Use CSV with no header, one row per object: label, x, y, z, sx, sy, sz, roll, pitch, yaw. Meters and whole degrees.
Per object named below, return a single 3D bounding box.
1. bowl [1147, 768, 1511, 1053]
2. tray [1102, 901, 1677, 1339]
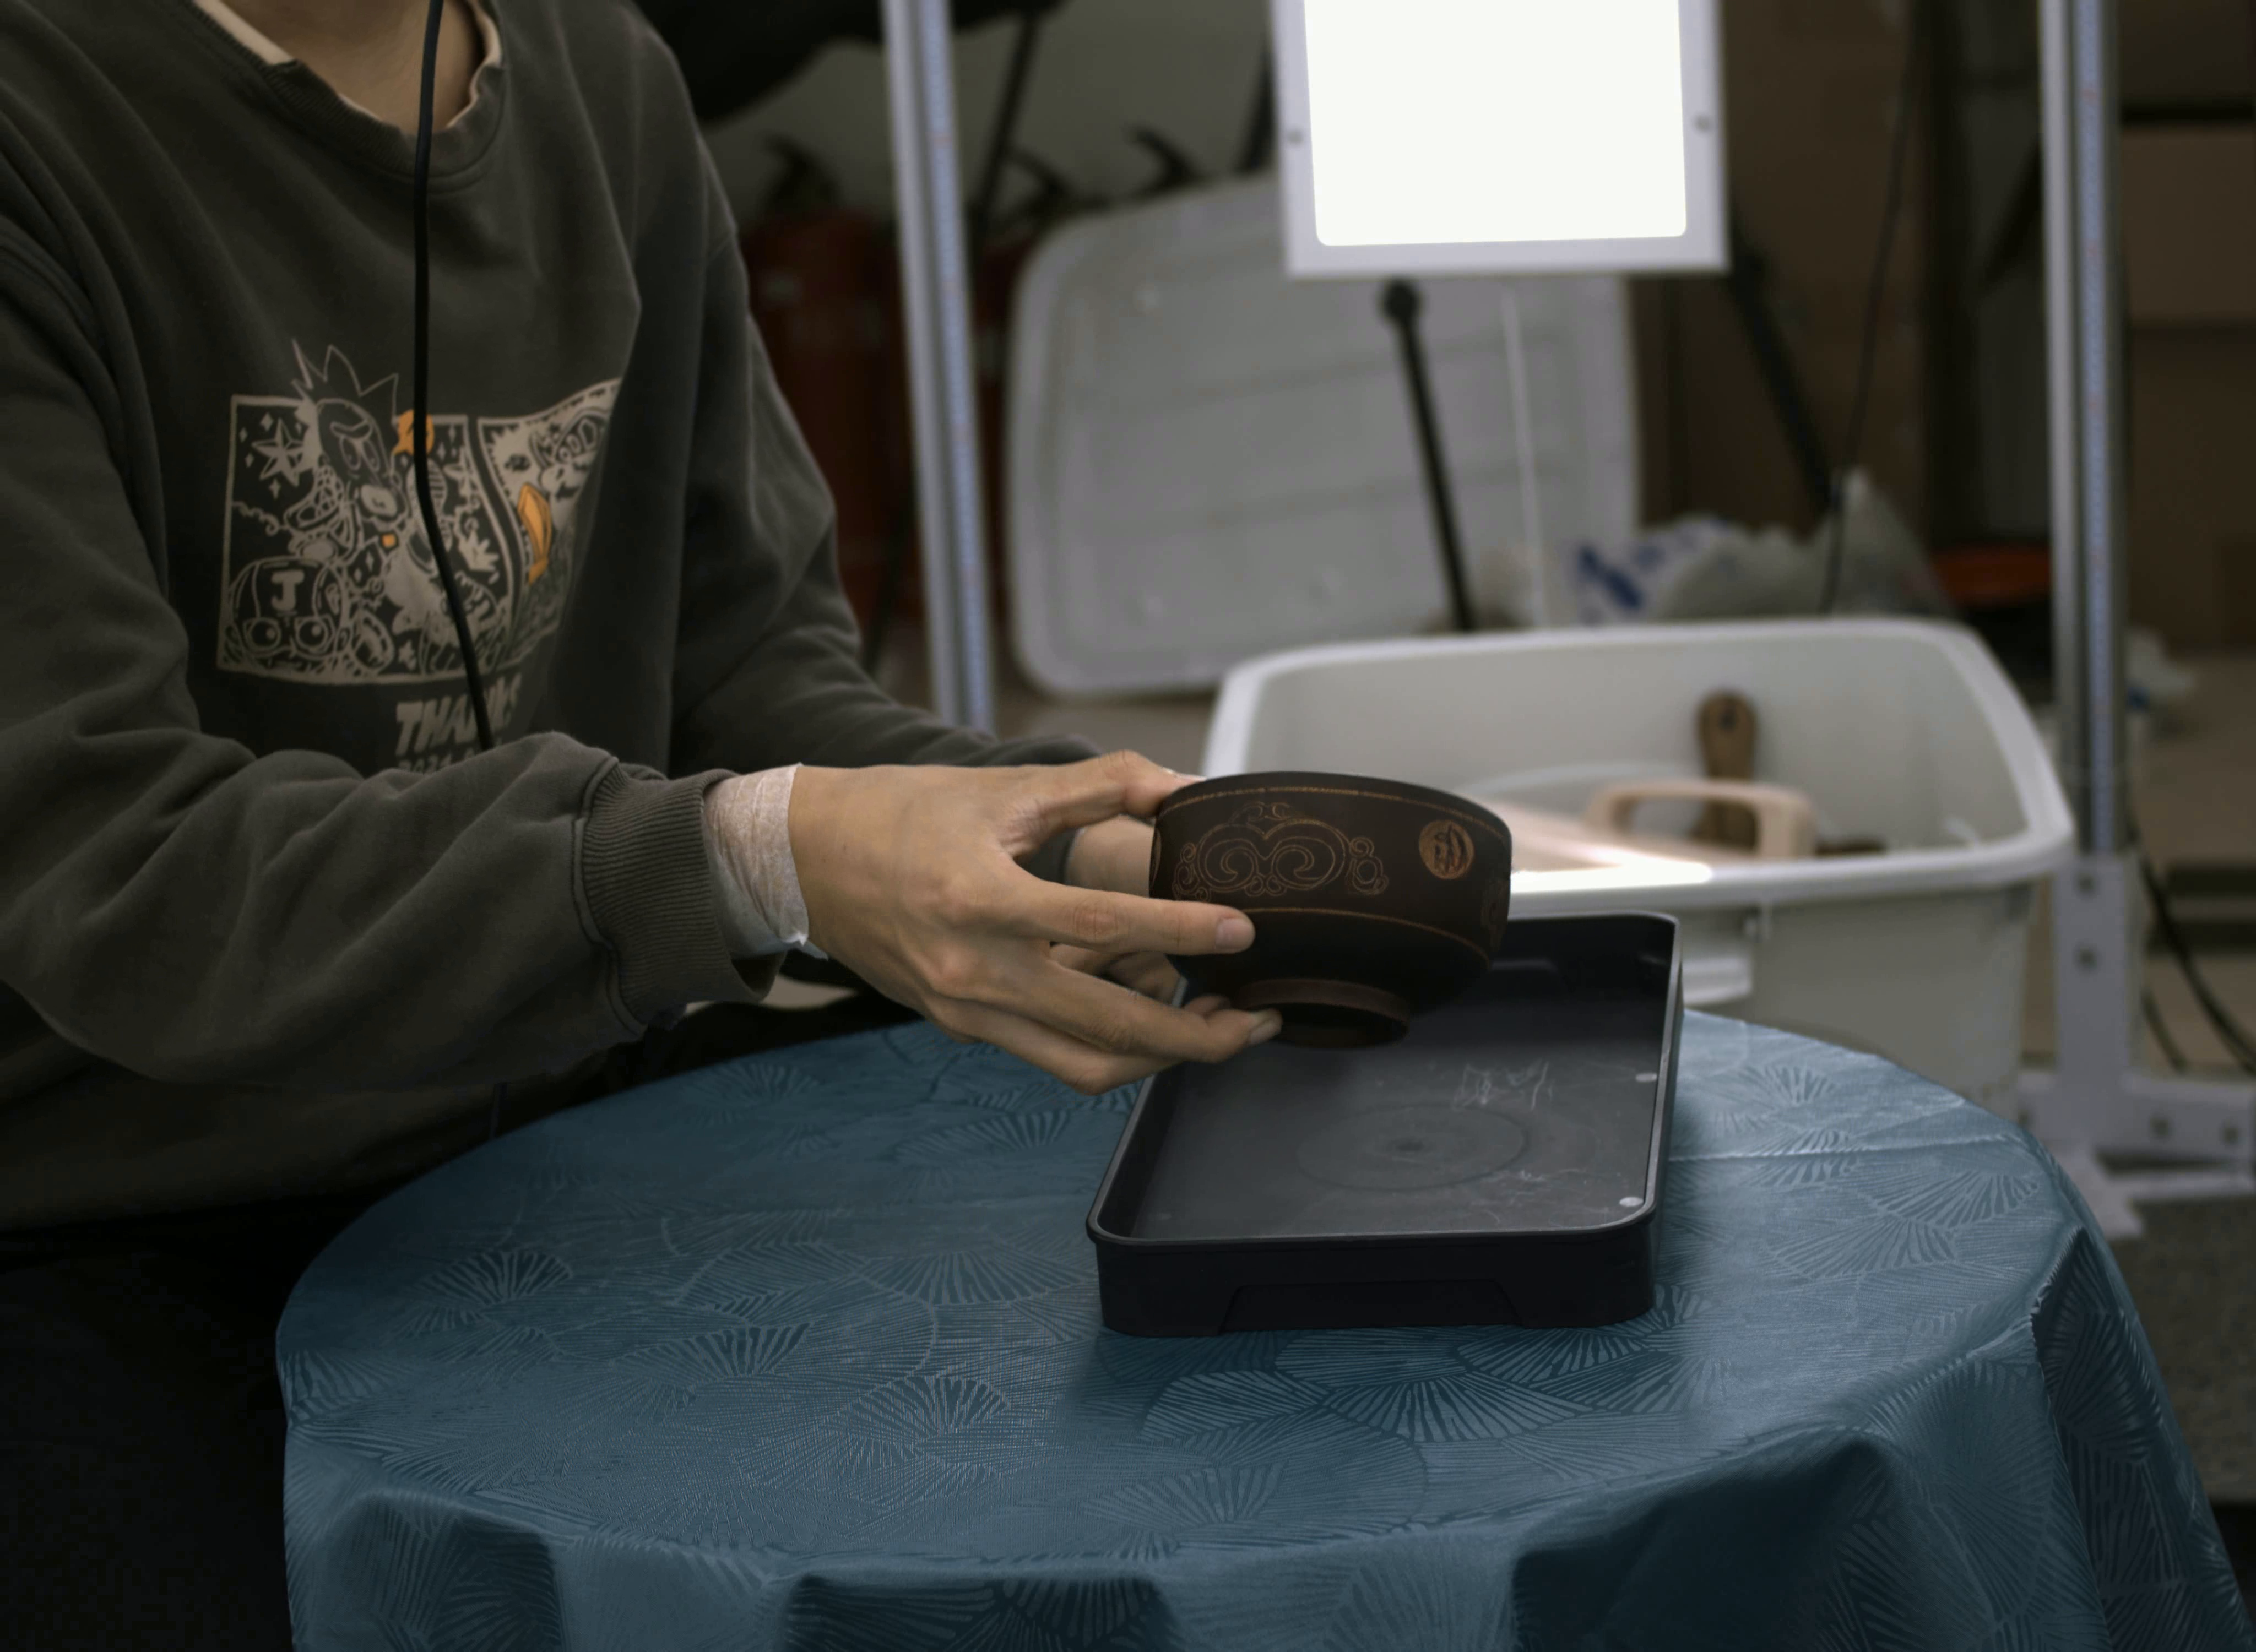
bowl,0.064,0.032,1.760,0.118,0.070,0.118,5,-18,0
tray,0.097,0.096,1.880,0.185,0.037,0.315,-4,17,8
